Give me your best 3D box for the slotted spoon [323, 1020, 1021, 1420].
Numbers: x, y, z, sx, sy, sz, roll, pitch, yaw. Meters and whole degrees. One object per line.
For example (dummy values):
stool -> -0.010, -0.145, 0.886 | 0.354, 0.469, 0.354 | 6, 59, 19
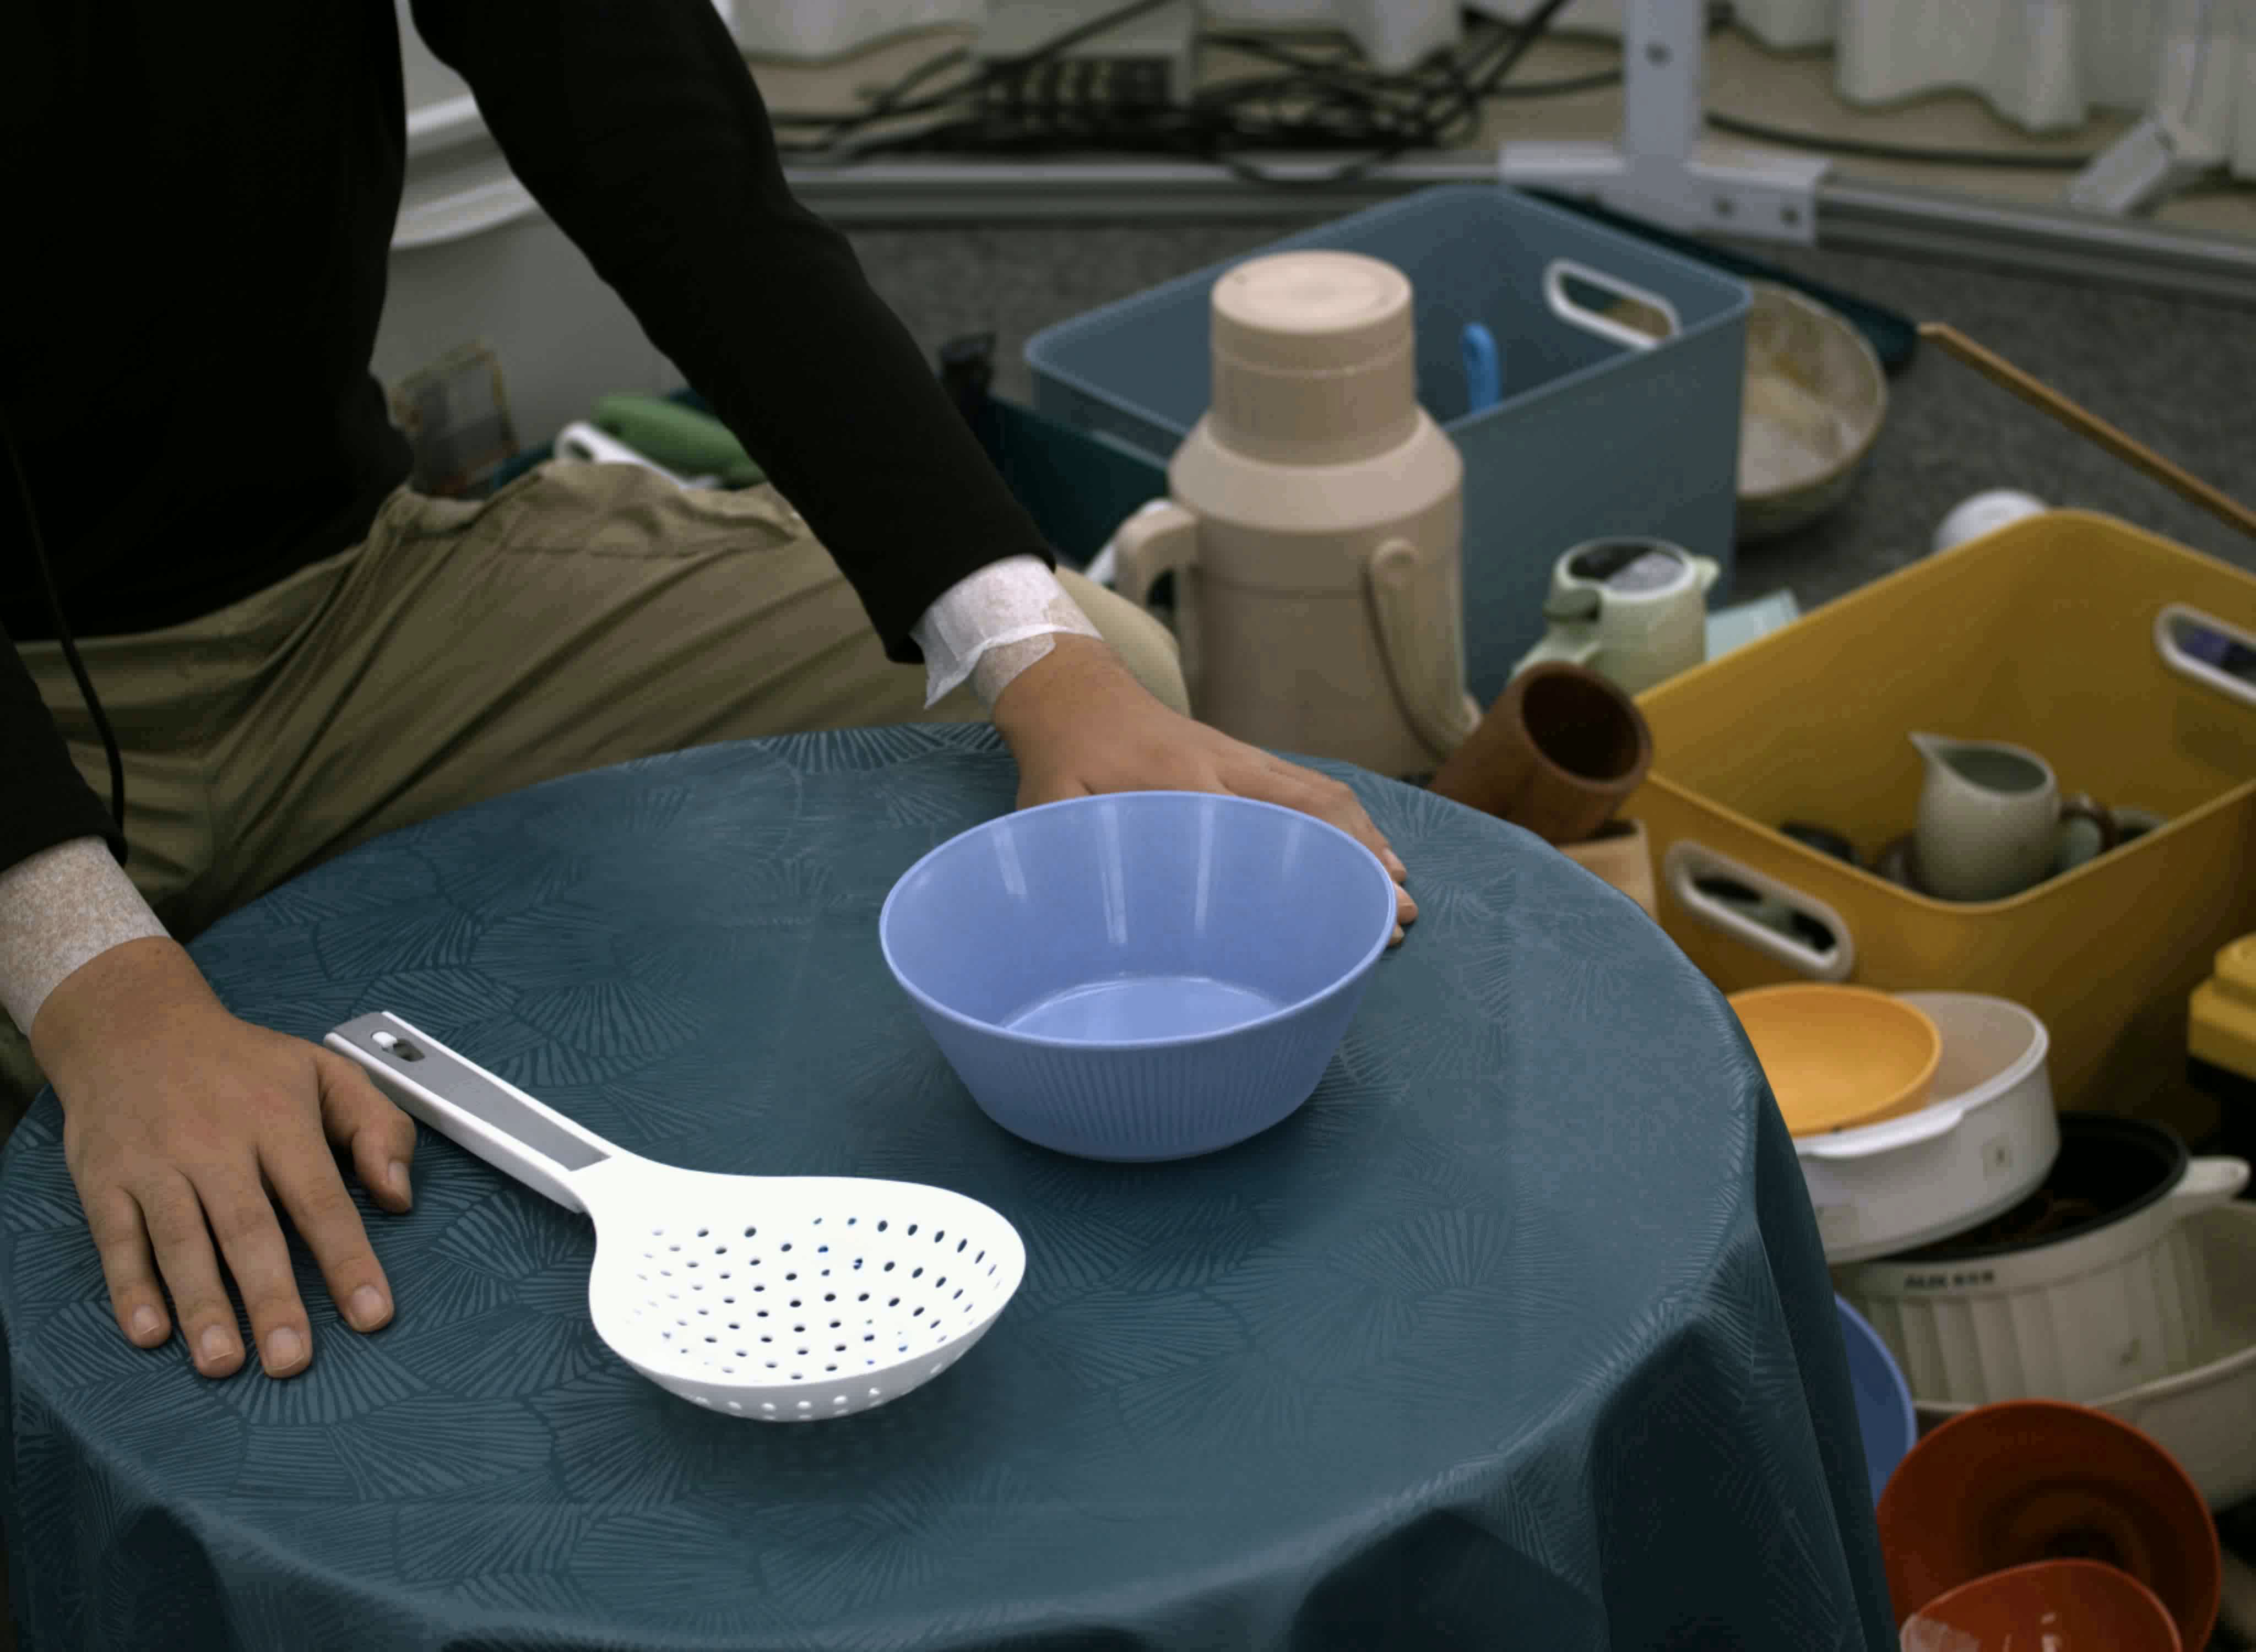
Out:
slotted spoon -> -0.166, 0.121, 1.831 | 0.137, 0.045, 0.350 | -22, 32, -32

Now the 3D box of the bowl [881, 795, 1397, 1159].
bowl -> 0.005, 0.056, 1.910 | 0.175, 0.069, 0.178 | -2, 26, 1
